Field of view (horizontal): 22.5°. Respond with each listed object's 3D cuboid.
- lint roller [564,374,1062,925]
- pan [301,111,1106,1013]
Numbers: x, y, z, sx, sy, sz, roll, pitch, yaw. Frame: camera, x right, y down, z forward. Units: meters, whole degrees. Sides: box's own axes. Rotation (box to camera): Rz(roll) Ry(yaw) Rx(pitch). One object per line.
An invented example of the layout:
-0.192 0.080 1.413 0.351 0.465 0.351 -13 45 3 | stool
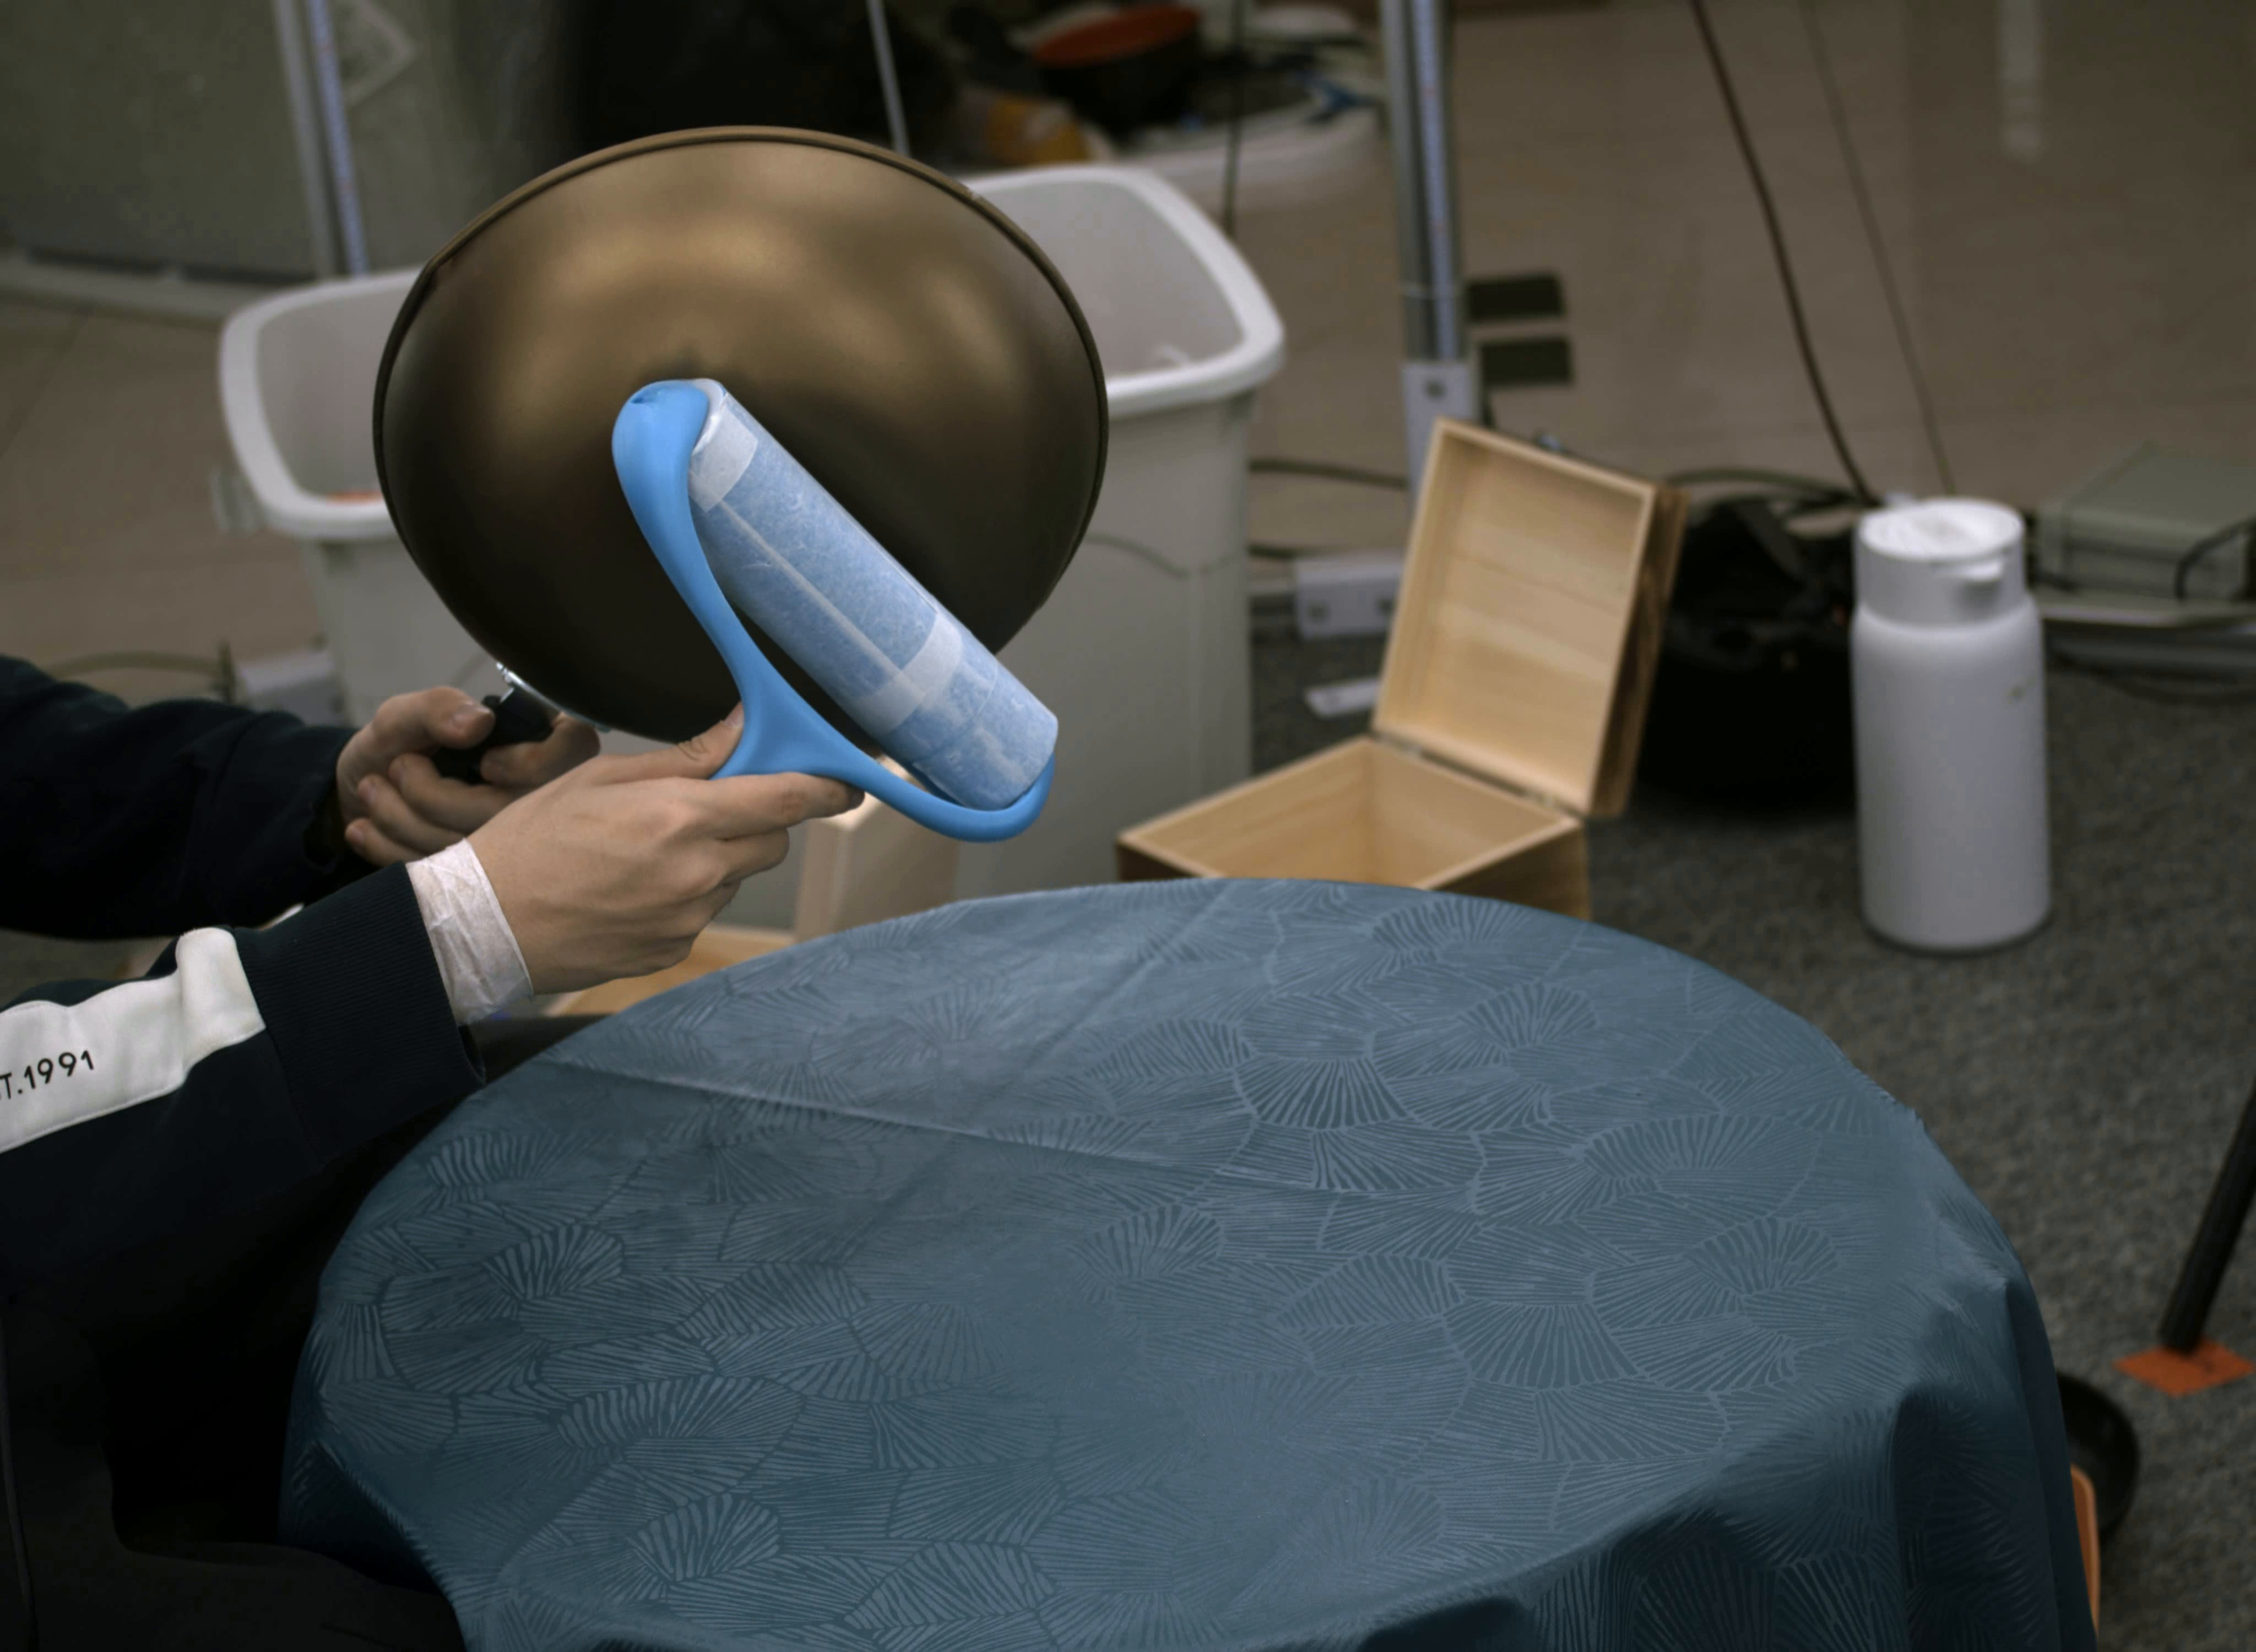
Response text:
-0.135 -0.036 2.054 0.067 0.231 0.179 14 67 54 | lint roller
-0.198 -0.067 2.165 0.290 0.469 0.085 26 33 -27 | pan
